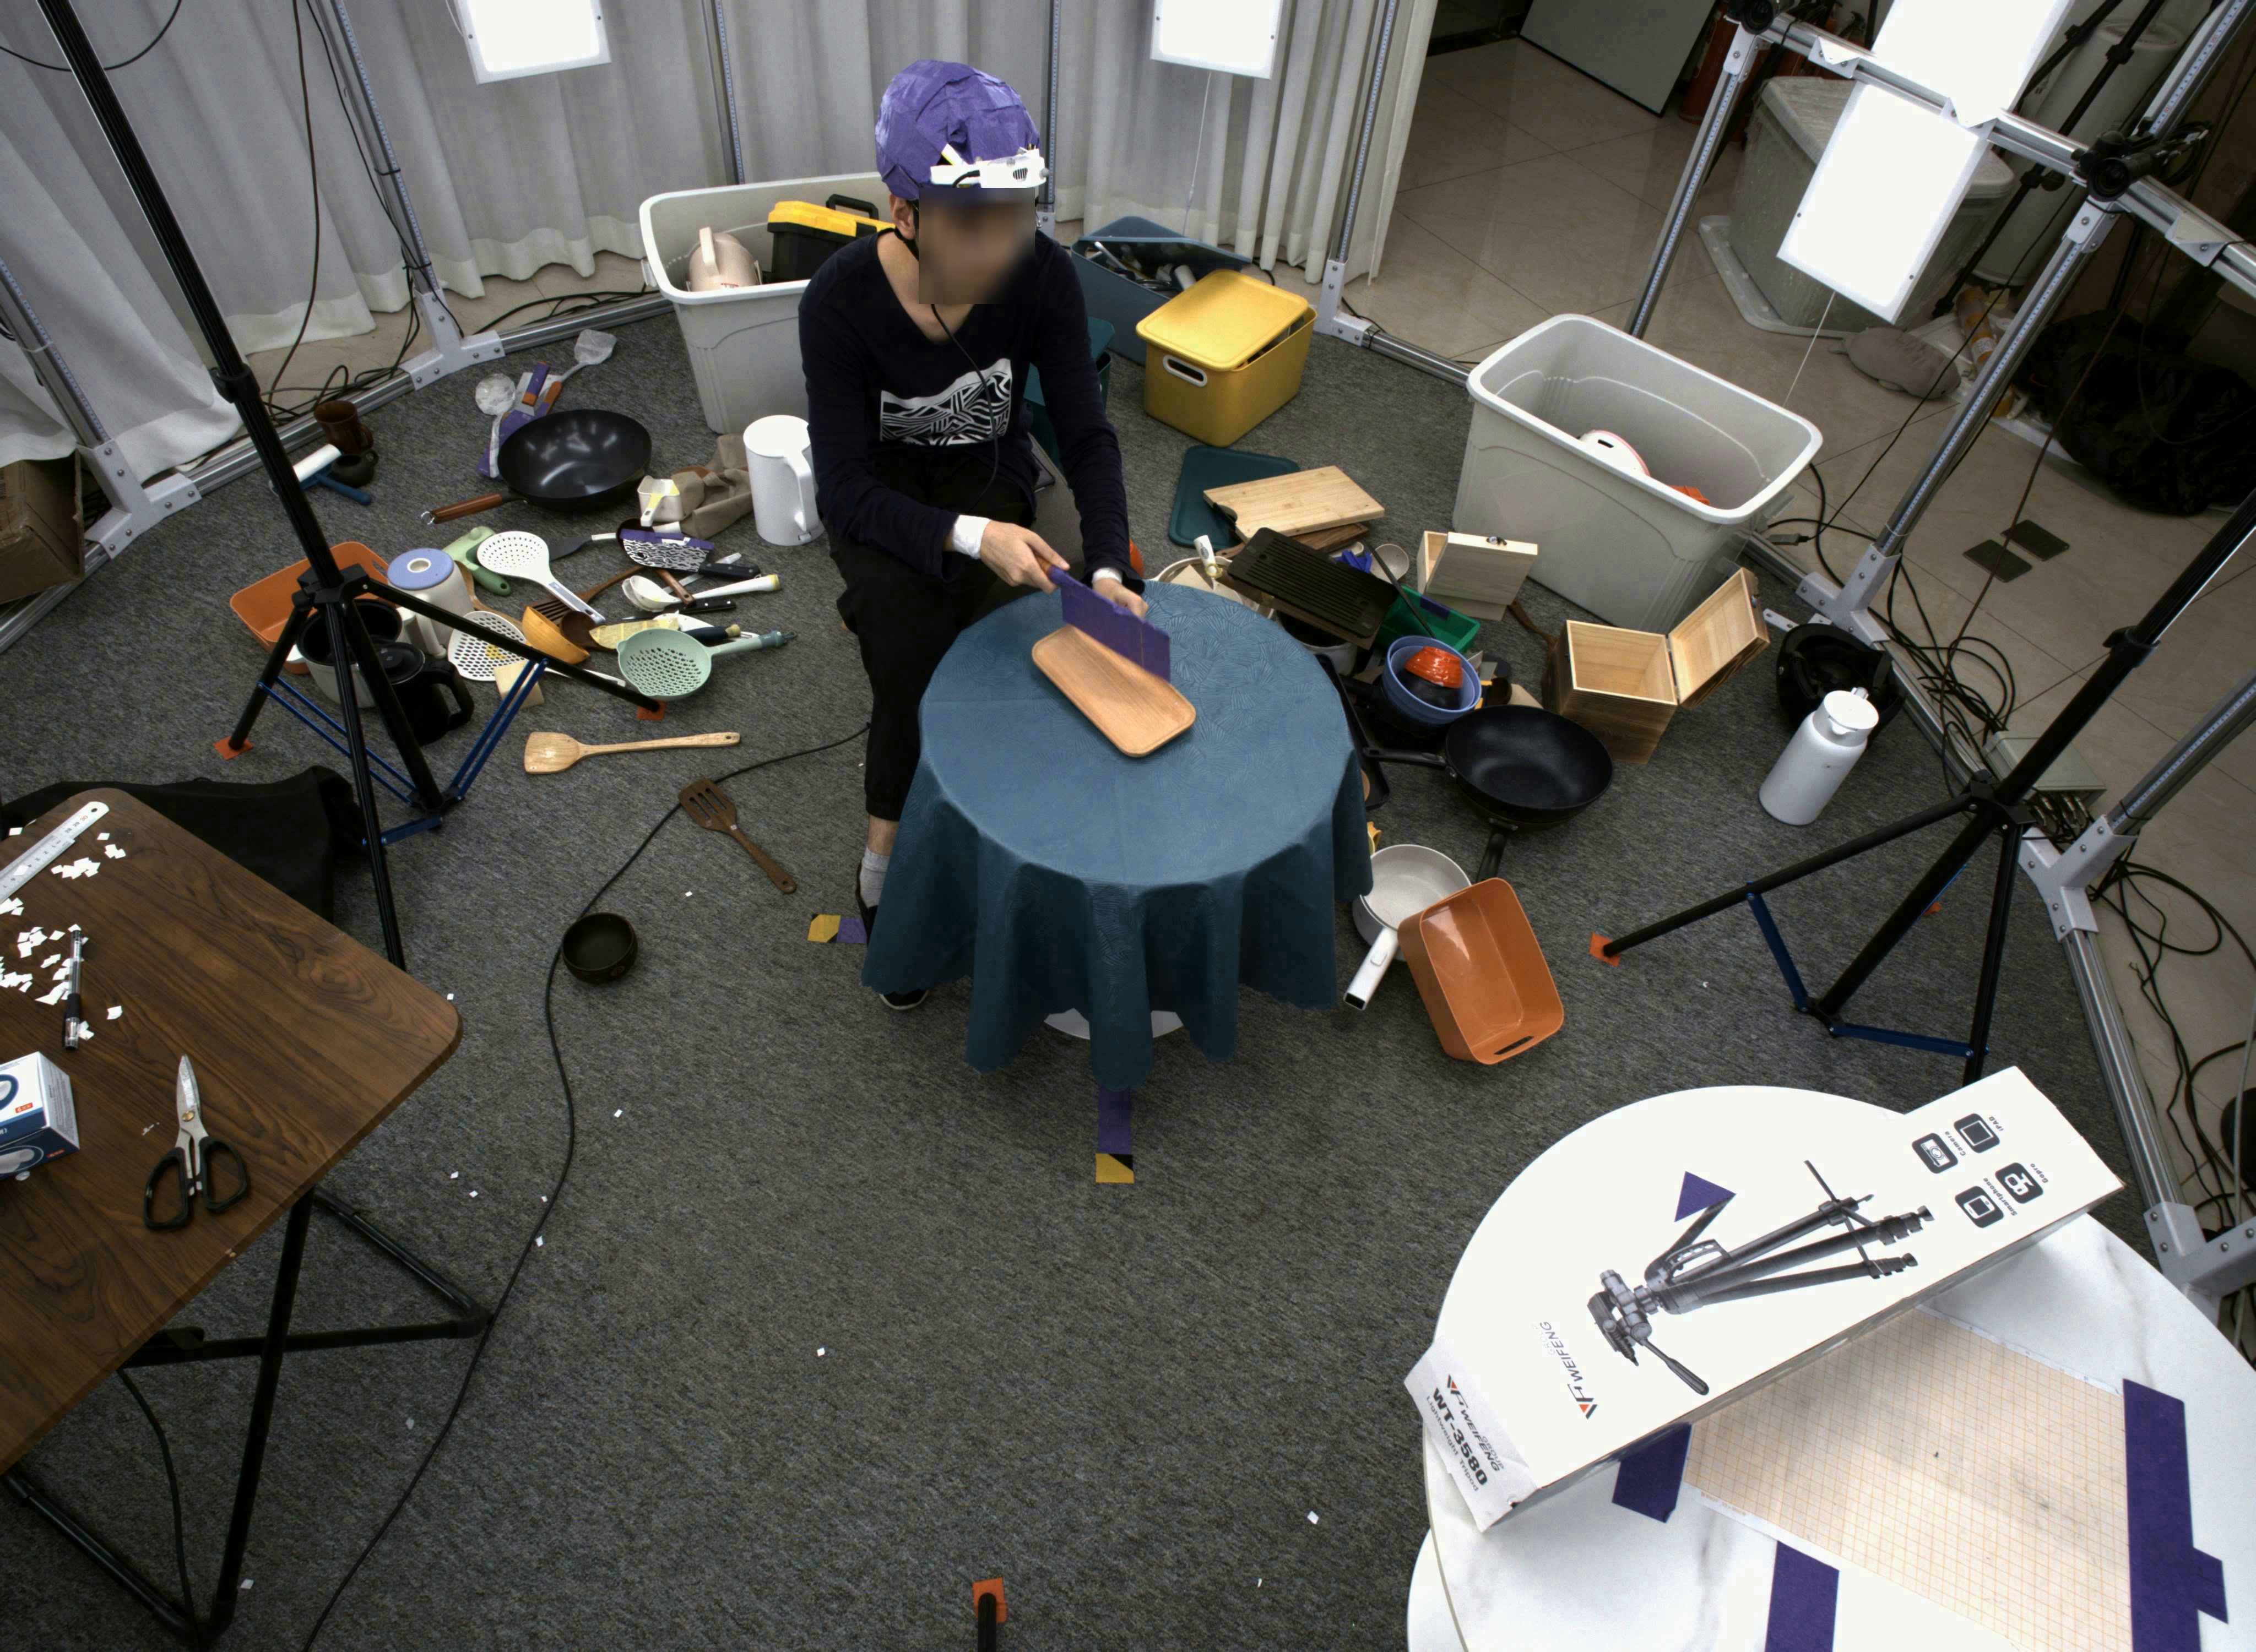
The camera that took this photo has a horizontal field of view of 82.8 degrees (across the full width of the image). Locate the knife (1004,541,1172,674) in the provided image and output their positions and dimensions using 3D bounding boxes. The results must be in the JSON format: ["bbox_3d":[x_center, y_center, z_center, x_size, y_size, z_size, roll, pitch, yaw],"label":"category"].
[{"bbox_3d":[-0.059,-0.305,1.817,0.032,0.101,0.320,-36,54,-28],"label":"knife"}]

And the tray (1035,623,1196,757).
[{"bbox_3d":[-0.019,-0.201,1.815,0.131,0.022,0.255,-28,59,-23],"label":"tray"}]
